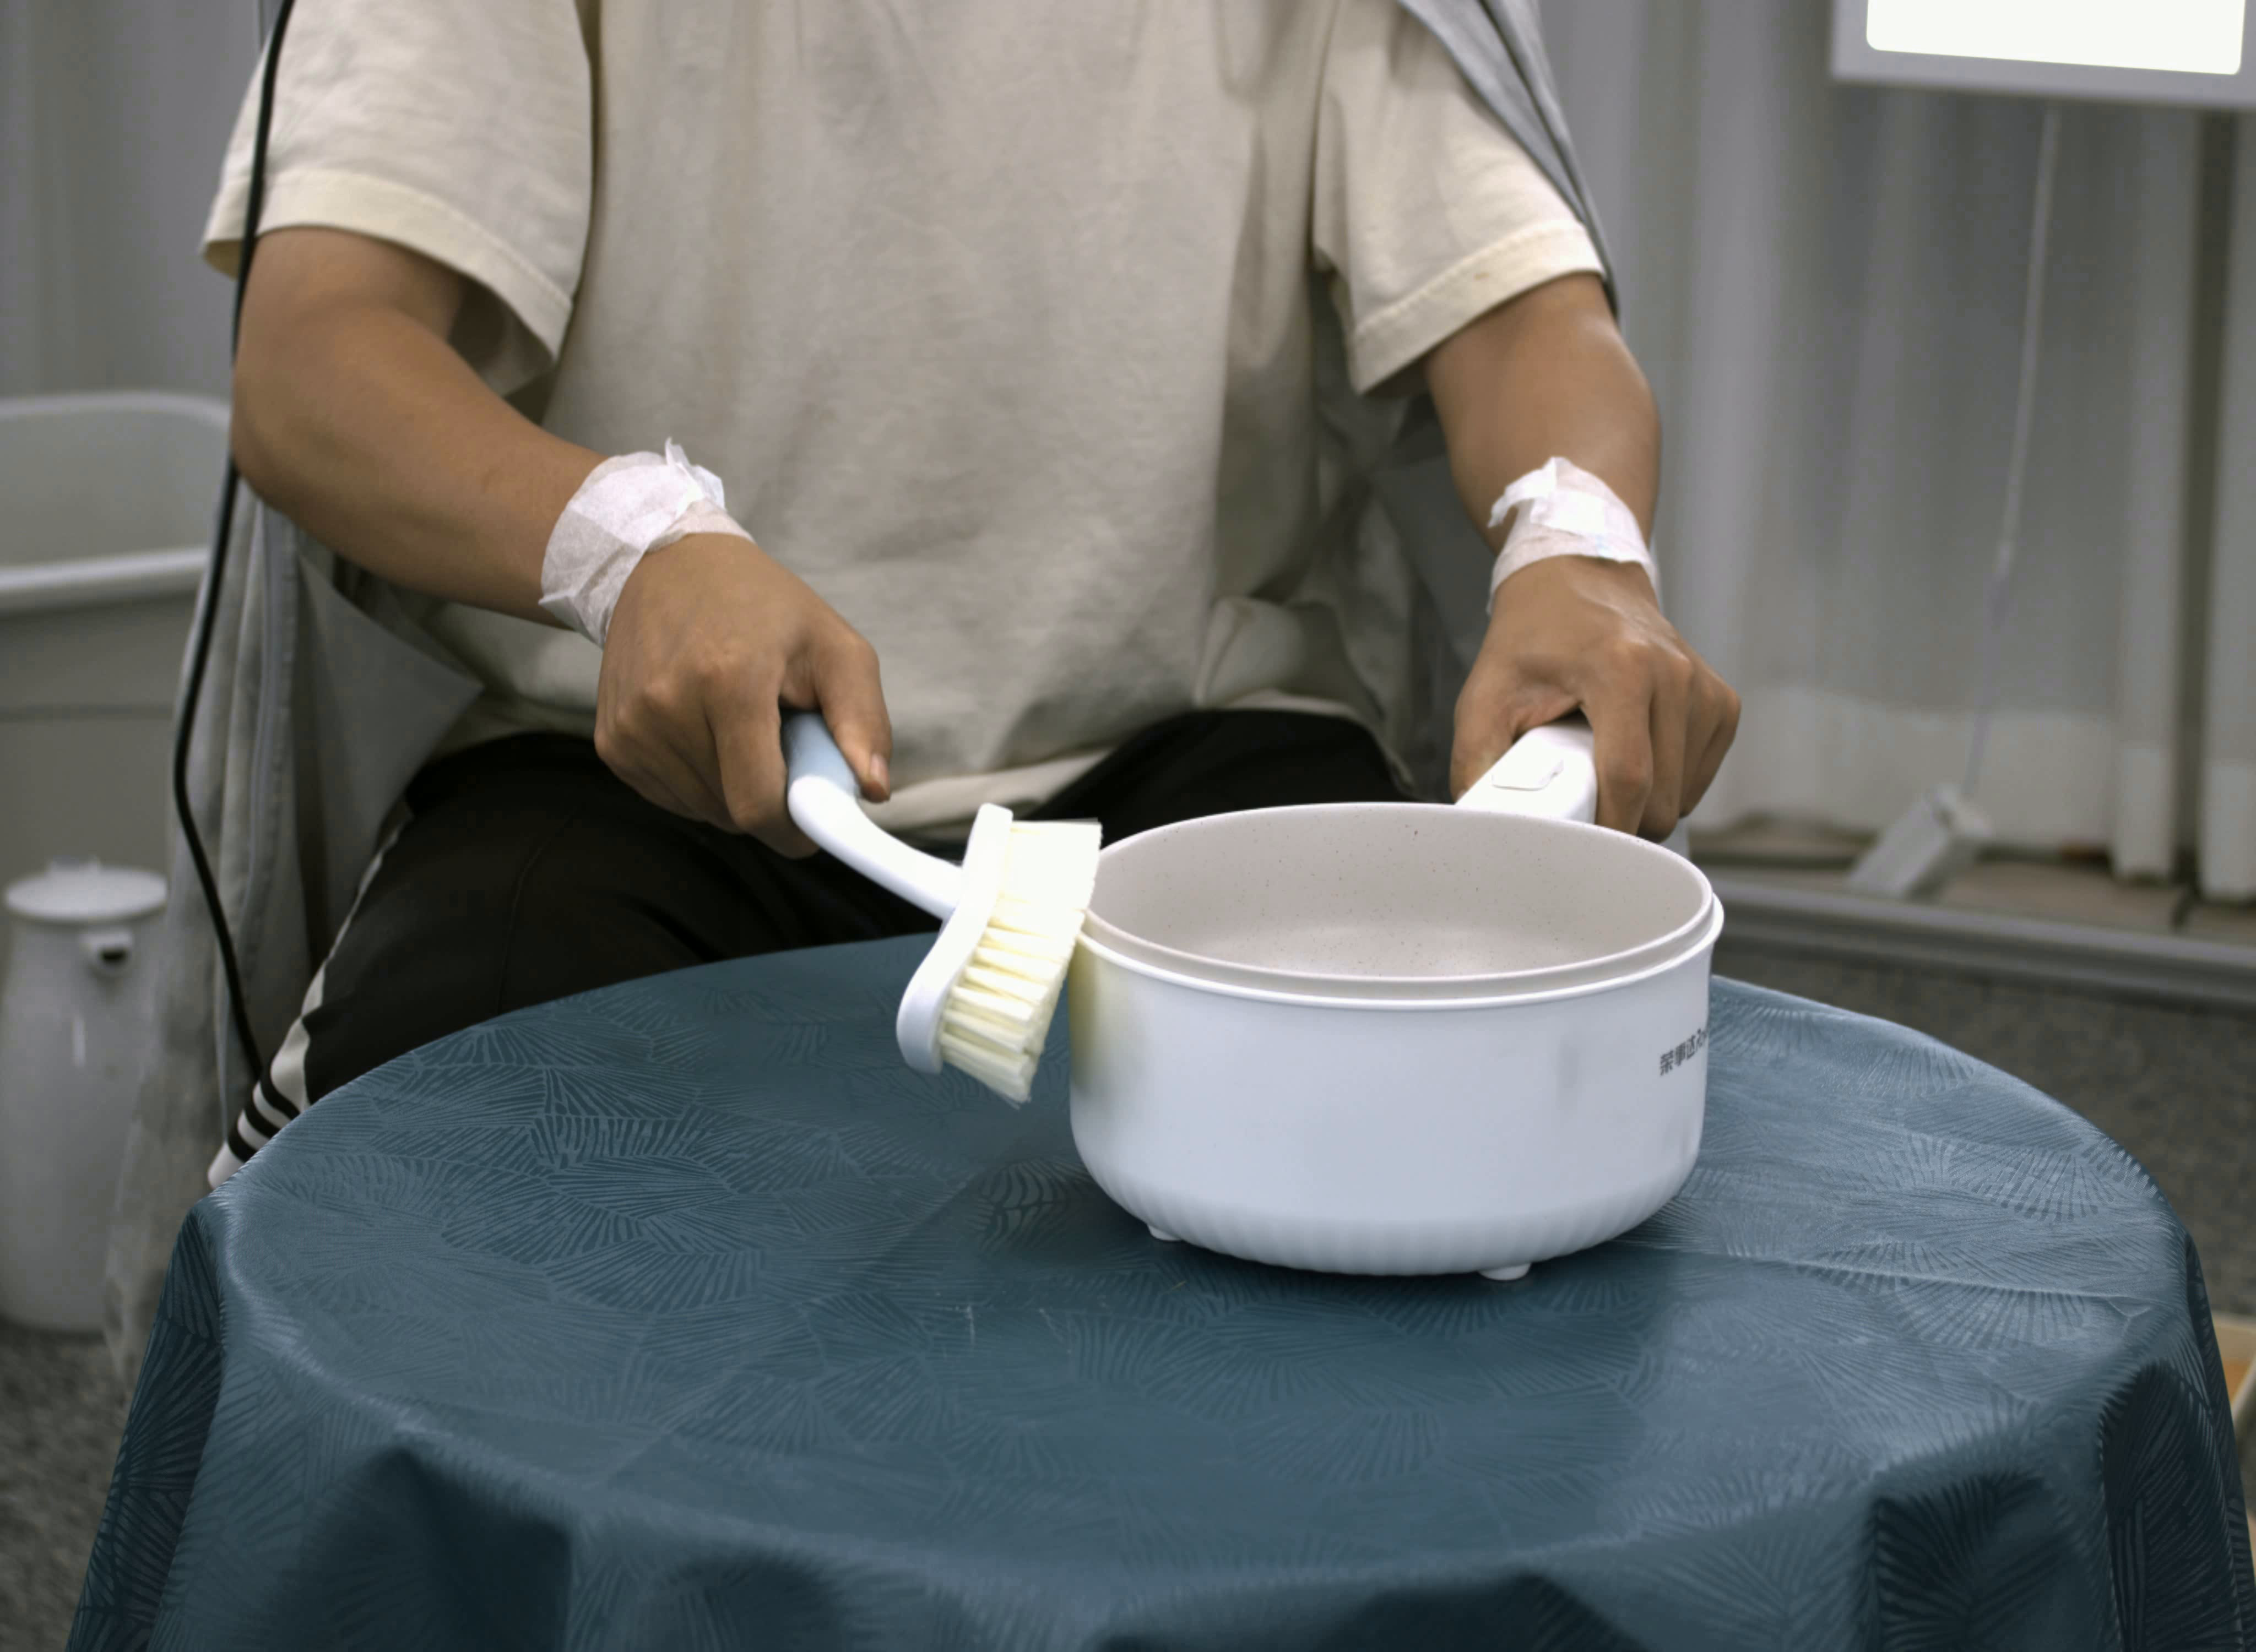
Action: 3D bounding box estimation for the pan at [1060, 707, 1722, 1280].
[{"bbox_3d":[0.104,0.048,1.676,0.199,0.103,0.355,5,16,18],"label":"pan"}]

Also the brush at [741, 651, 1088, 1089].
[{"bbox_3d":[-0.056,0.004,1.675,0.083,0.085,0.322,-36,21,3],"label":"brush"}]
